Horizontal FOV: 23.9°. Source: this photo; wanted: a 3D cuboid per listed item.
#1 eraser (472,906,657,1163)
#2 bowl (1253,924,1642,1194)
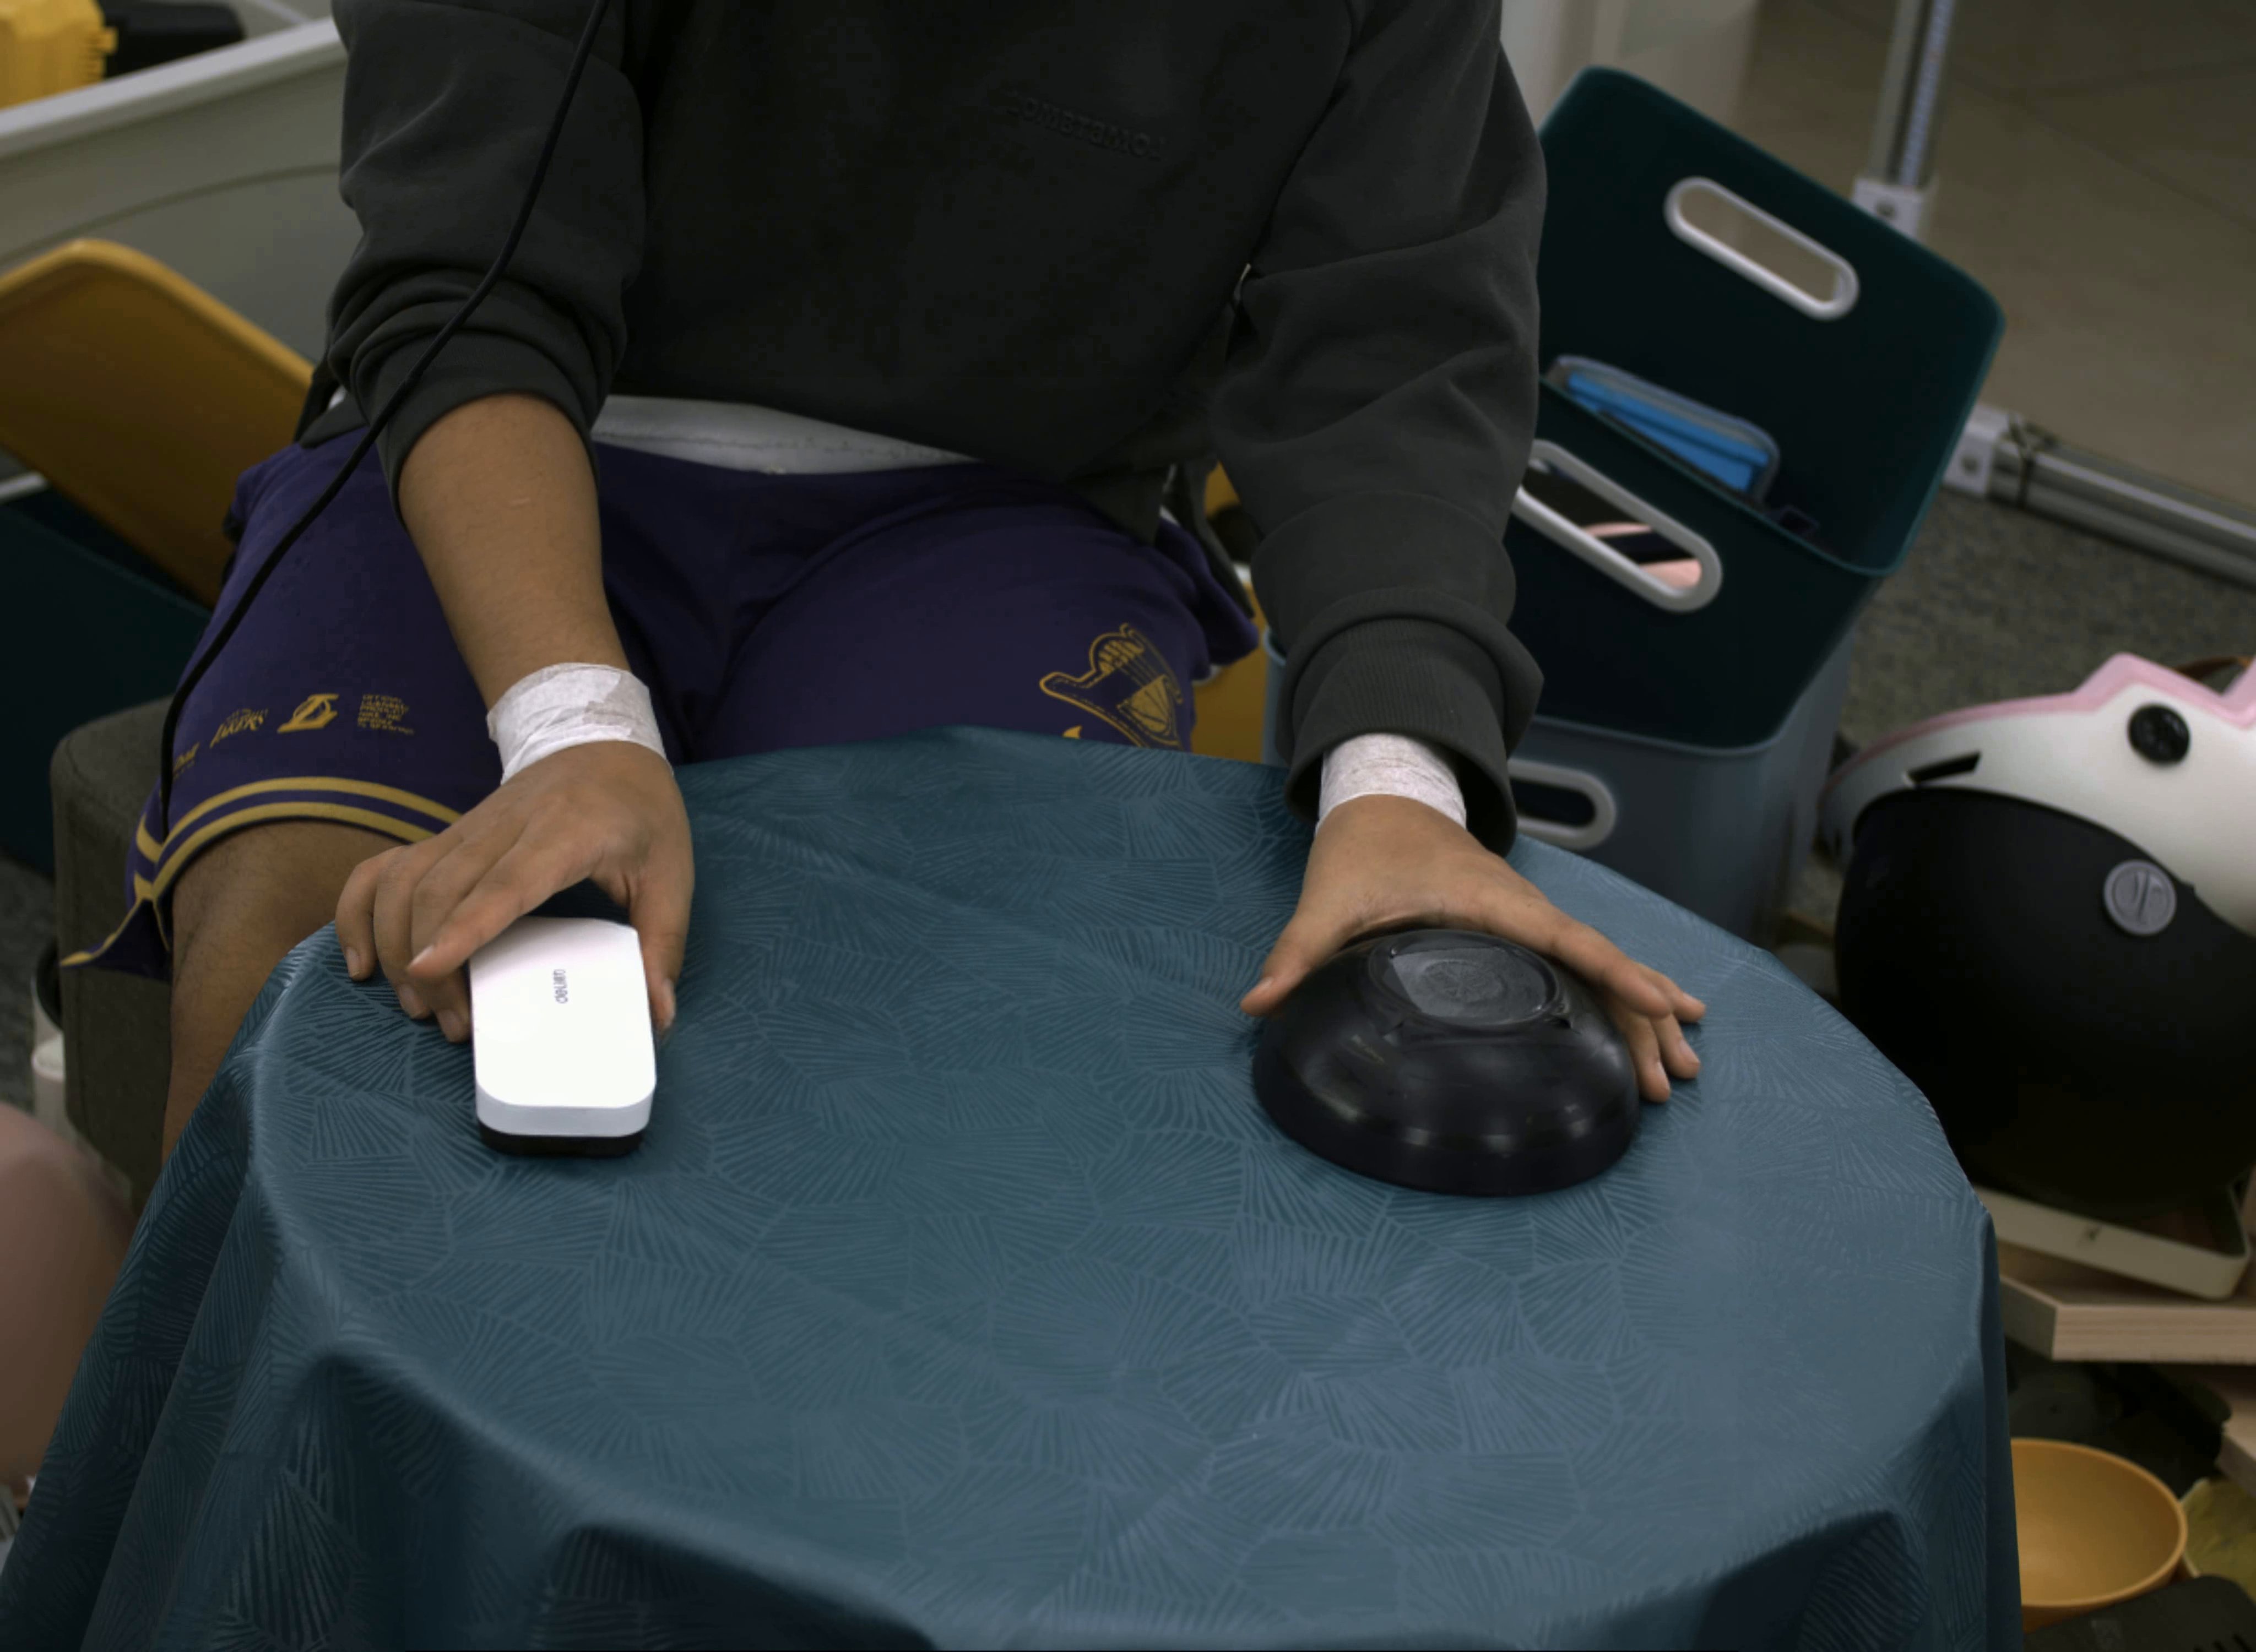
[{"bbox_3d":[-0.195,0.068,1.831,0.063,0.034,0.132,4,29,-8],"label":"eraser"},{"bbox_3d":[0.115,0.072,1.870,0.139,0.049,0.141,4,28,-3],"label":"bowl"}]
